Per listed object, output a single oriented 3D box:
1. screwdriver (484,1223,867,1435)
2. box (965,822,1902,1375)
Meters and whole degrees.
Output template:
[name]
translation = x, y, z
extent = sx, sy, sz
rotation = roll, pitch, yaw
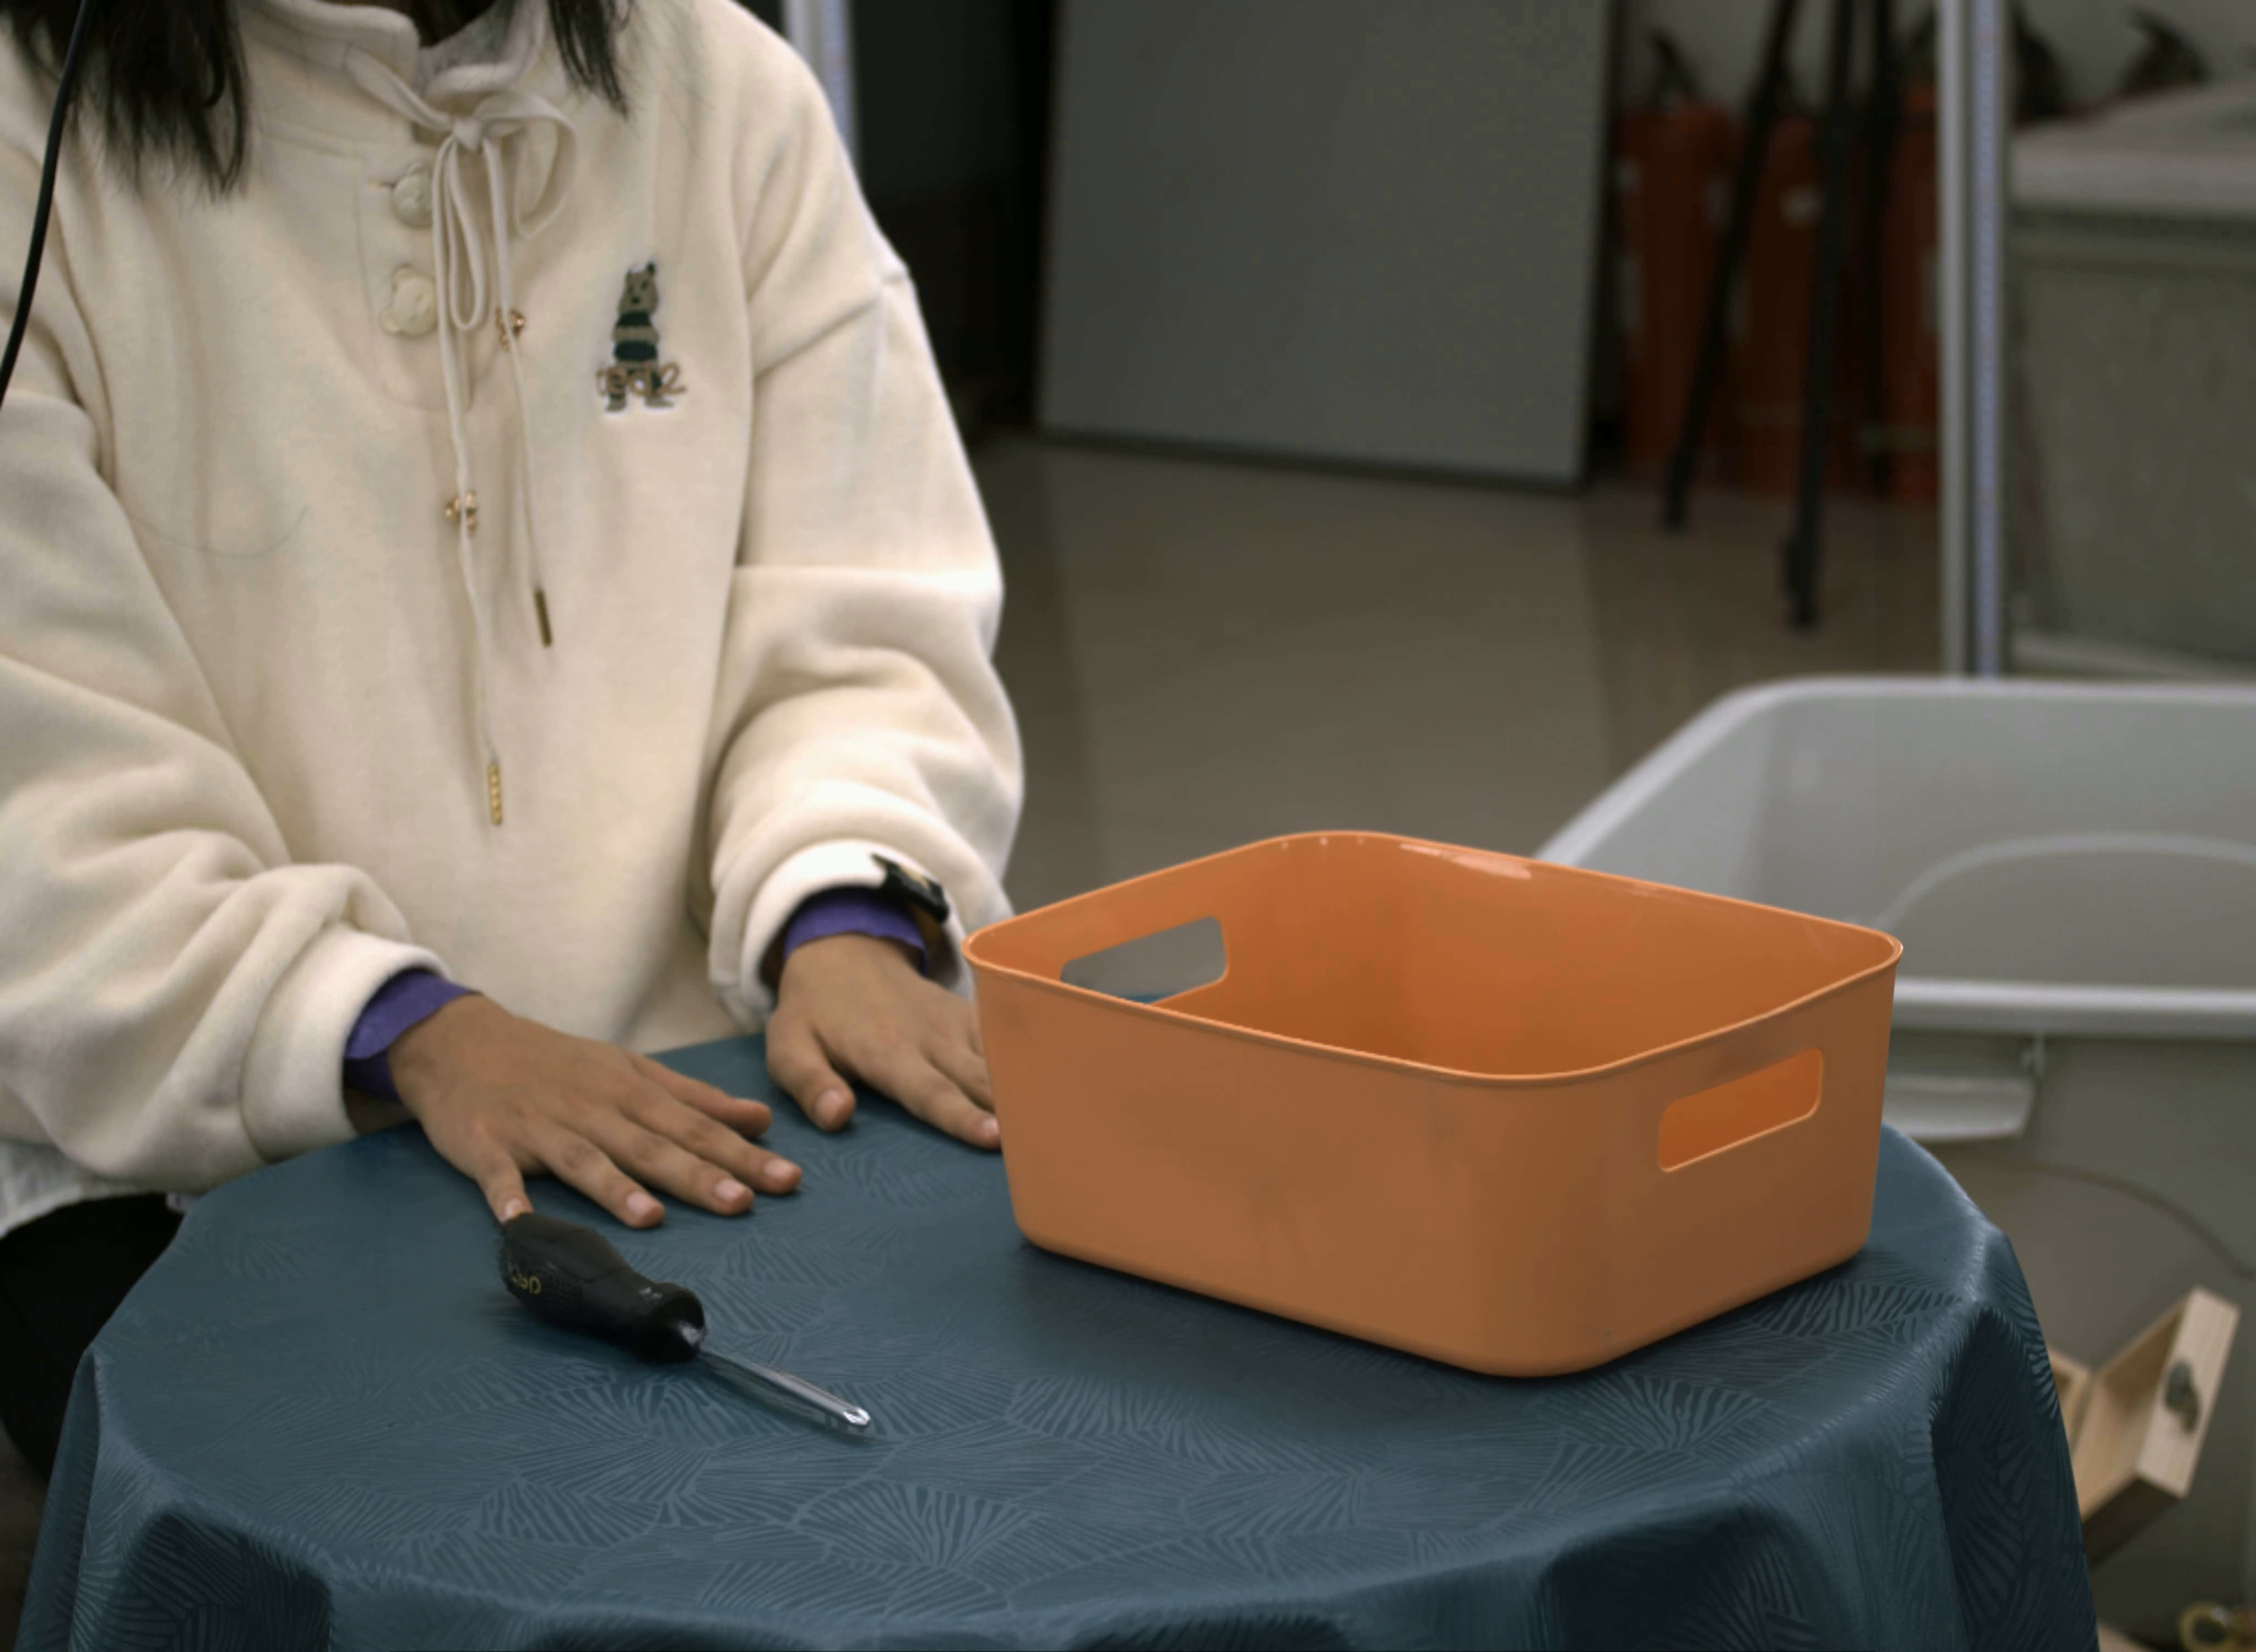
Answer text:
[screwdriver]
translation = -0.138, 0.156, 1.630
extent = 0.031, 0.032, 0.198
rotation = -12, 19, -33
[box]
translation = 0.096, 0.081, 1.681
extent = 0.195, 0.103, 0.276
rotation = -17, 19, -41
